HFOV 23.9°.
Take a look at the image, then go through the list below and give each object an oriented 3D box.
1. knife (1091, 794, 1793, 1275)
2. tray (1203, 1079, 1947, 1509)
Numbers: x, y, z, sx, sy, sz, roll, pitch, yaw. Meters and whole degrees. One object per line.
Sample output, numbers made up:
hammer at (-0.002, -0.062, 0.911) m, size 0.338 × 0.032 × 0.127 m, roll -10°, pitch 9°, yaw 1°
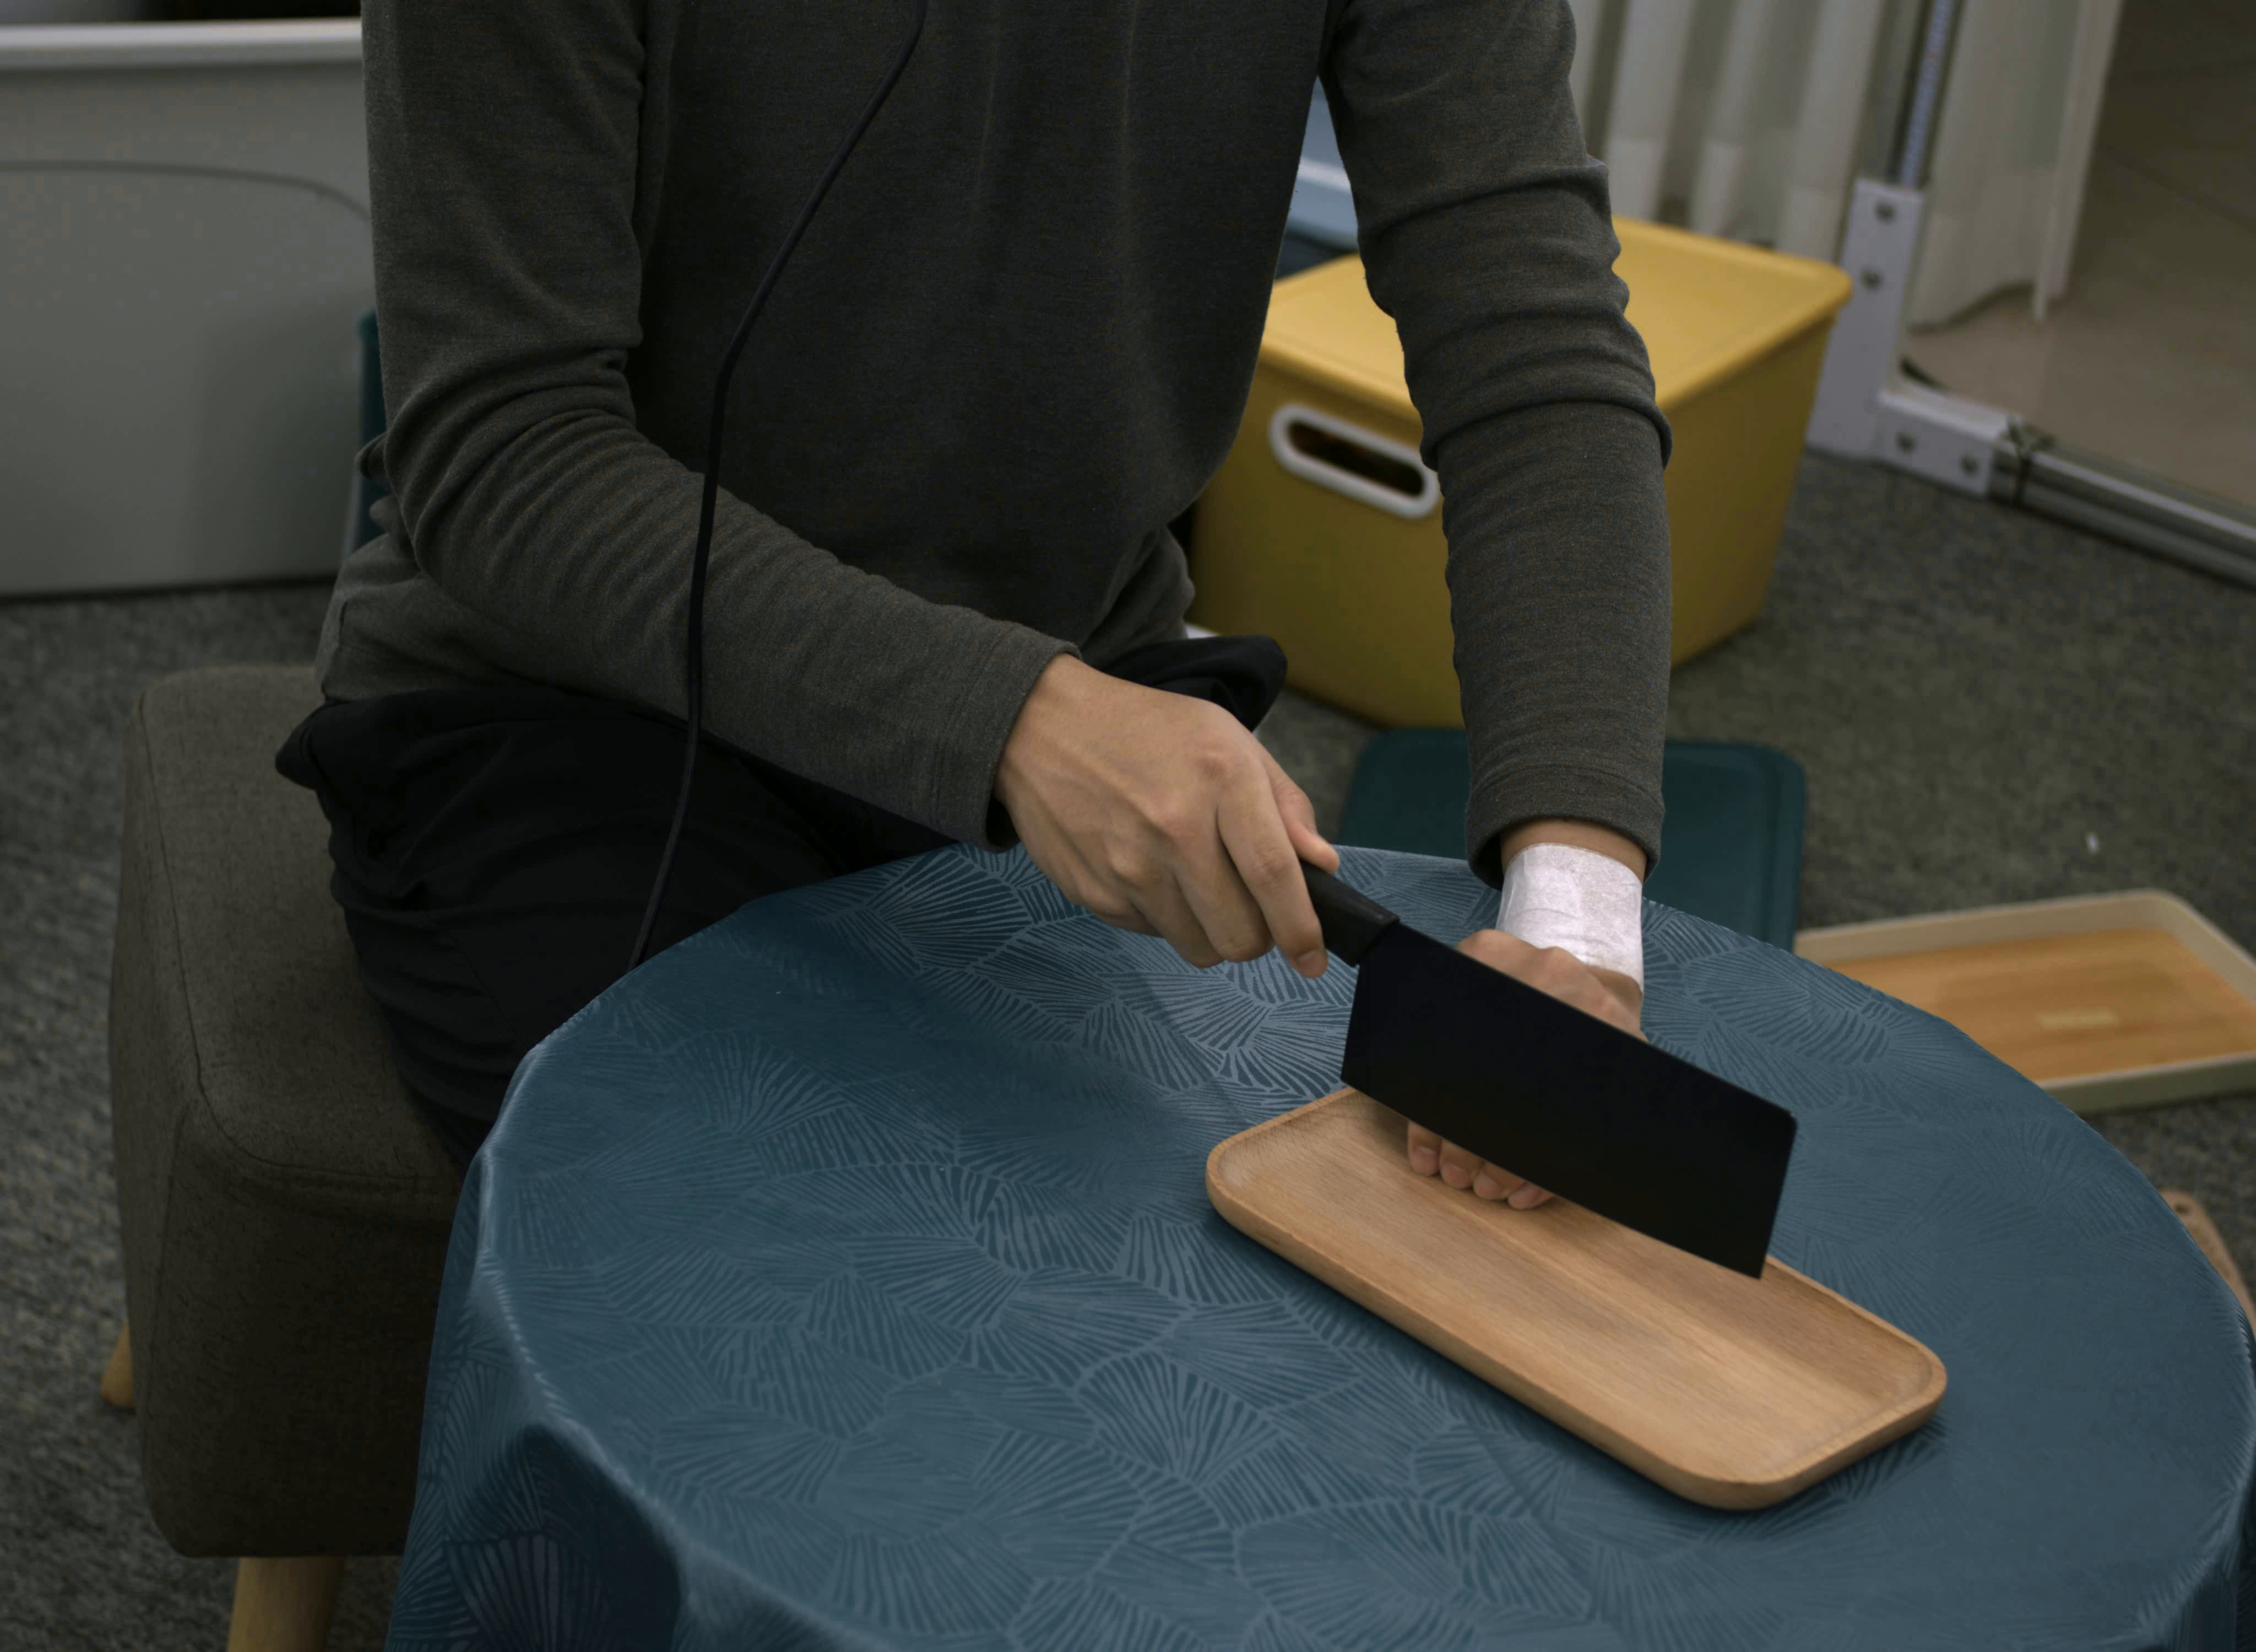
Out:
knife at (0.100, 0.064, 1.797) m, size 0.304 × 0.081 × 0.021 m, roll 31°, pitch 28°, yaw 34°
tray at (0.145, 0.152, 1.766) m, size 0.130 × 0.023 × 0.252 m, roll -16°, pitch 33°, yaw -42°
